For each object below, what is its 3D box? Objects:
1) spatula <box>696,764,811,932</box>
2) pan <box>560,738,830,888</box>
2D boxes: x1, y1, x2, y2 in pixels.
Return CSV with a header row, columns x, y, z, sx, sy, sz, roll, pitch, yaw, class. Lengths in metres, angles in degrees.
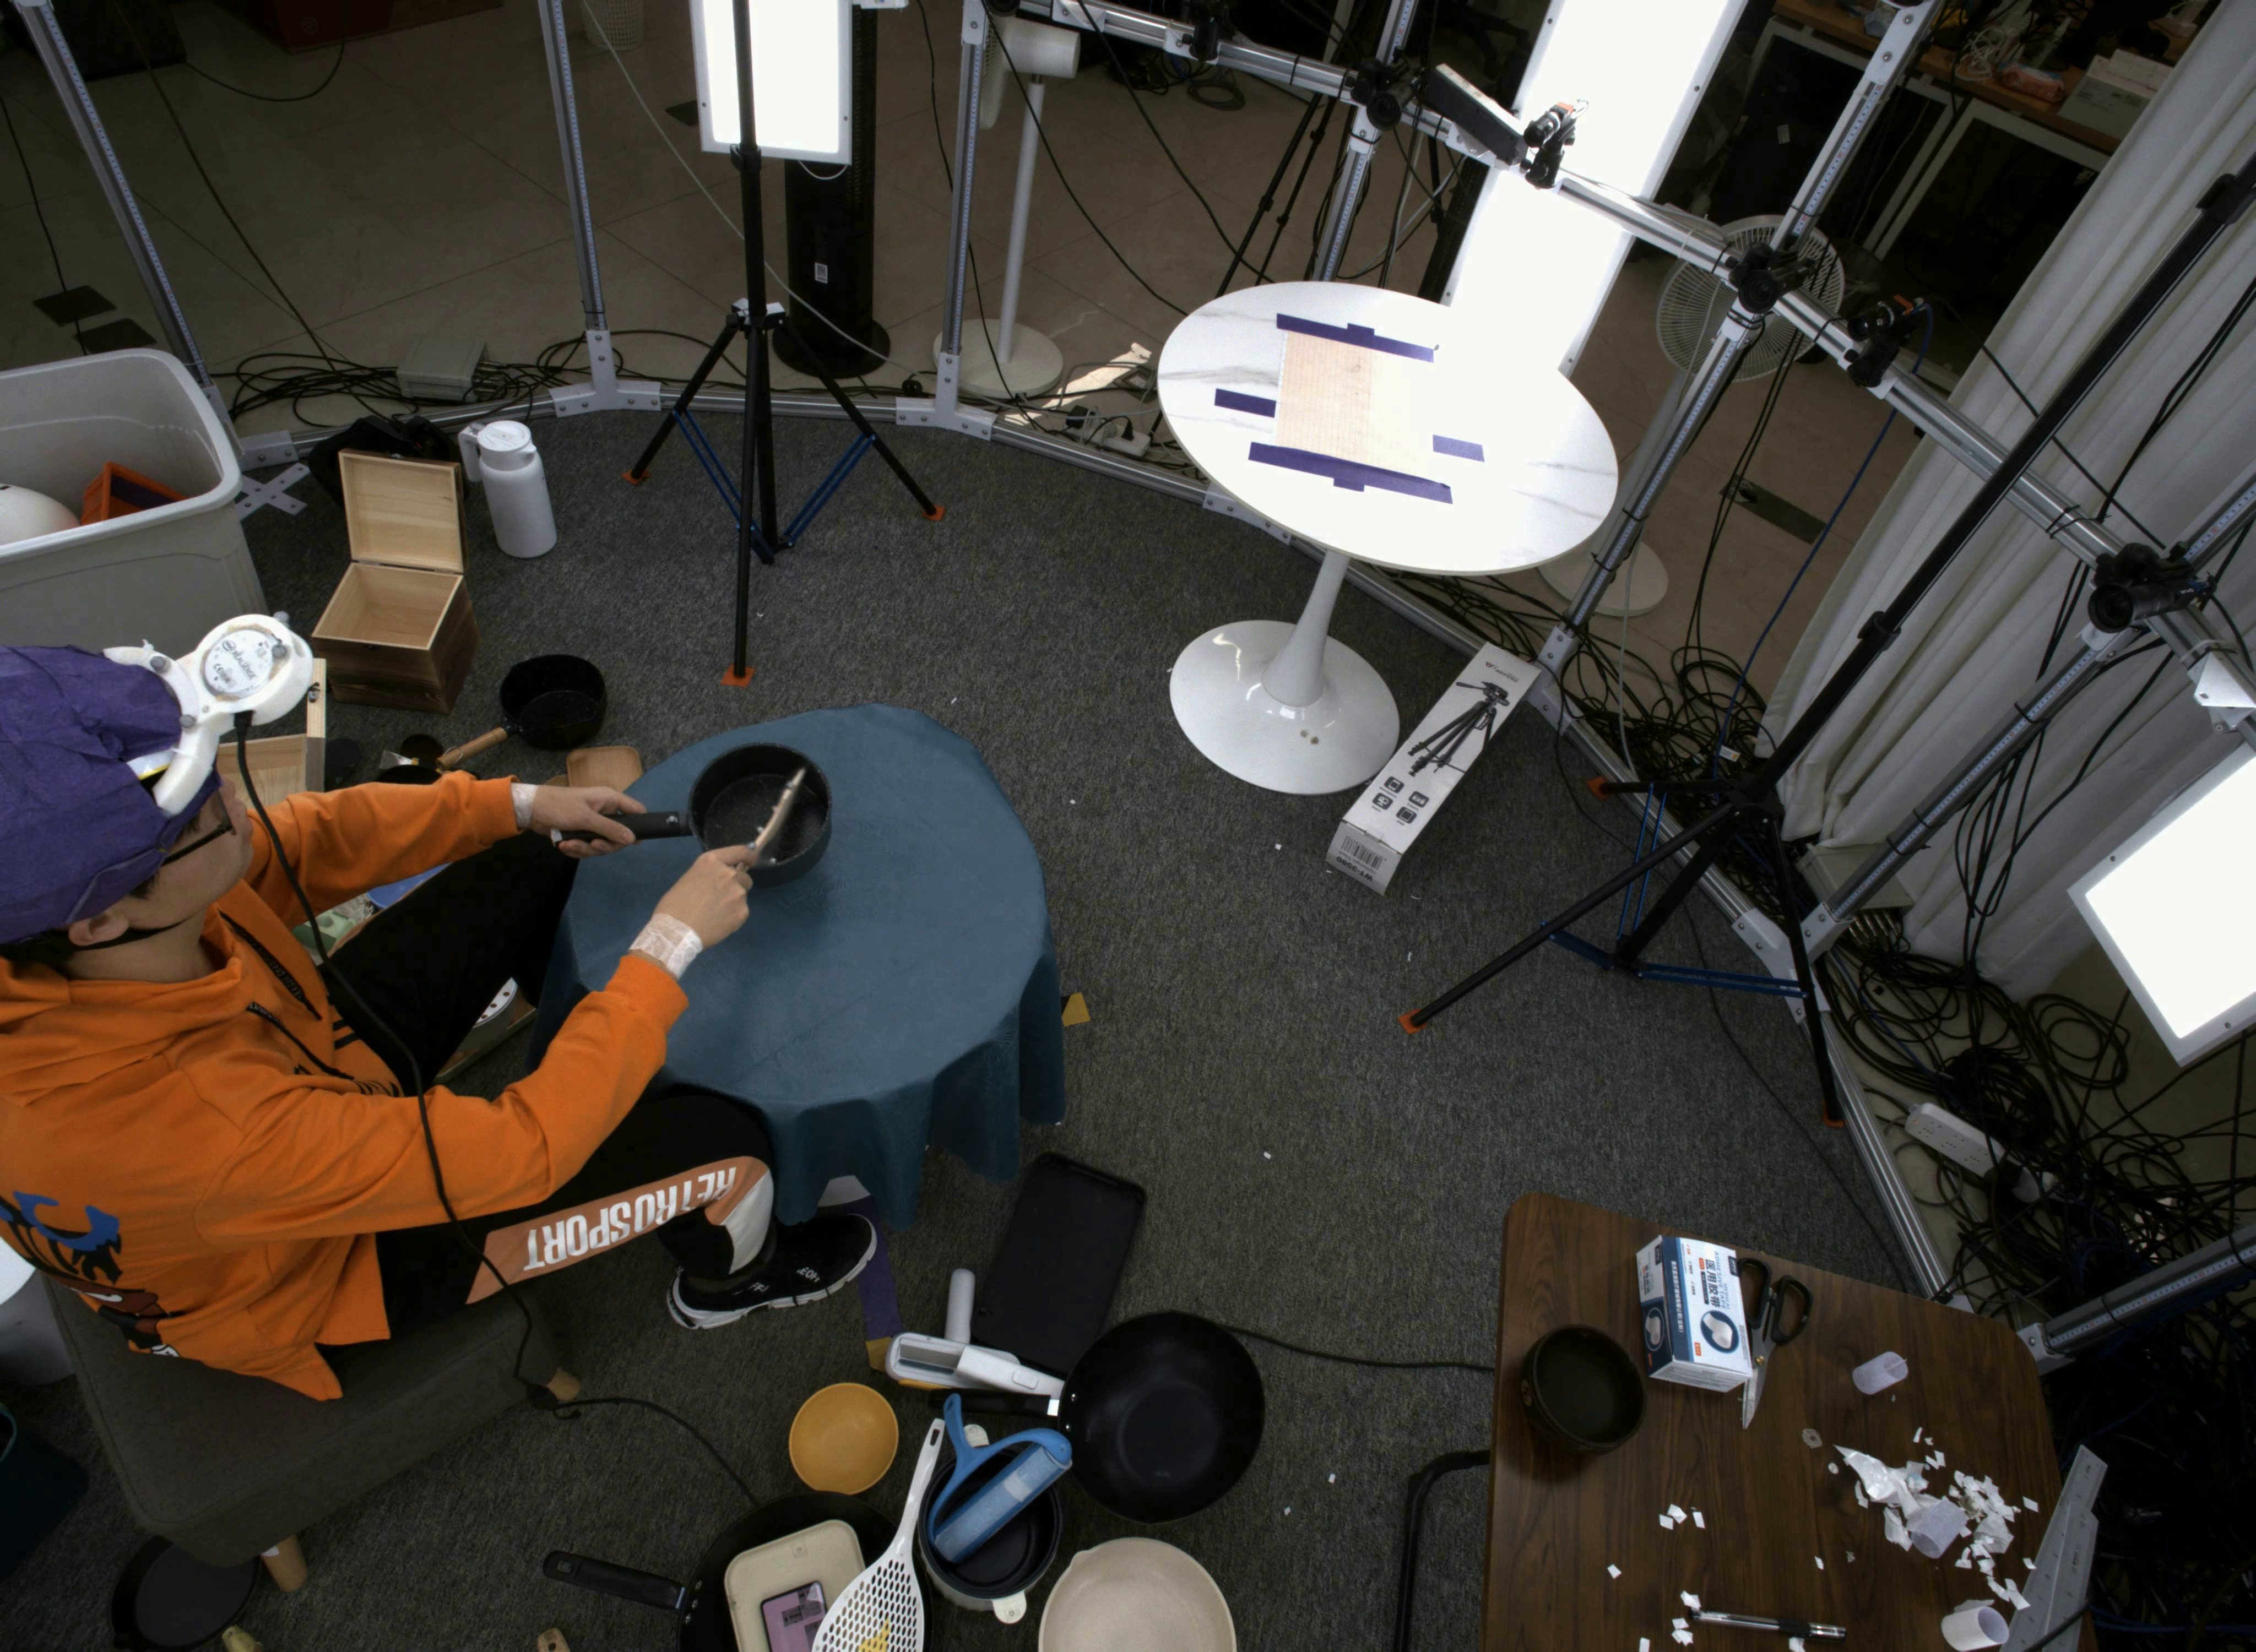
x,y,z,sx,sy,sz,roll,pitch,yaw,class
-0.427,0.025,1.486,0.011,0.073,0.289,27,35,-6,spatula
-0.526,-0.006,1.560,0.329,0.087,0.169,-6,66,-16,pan
